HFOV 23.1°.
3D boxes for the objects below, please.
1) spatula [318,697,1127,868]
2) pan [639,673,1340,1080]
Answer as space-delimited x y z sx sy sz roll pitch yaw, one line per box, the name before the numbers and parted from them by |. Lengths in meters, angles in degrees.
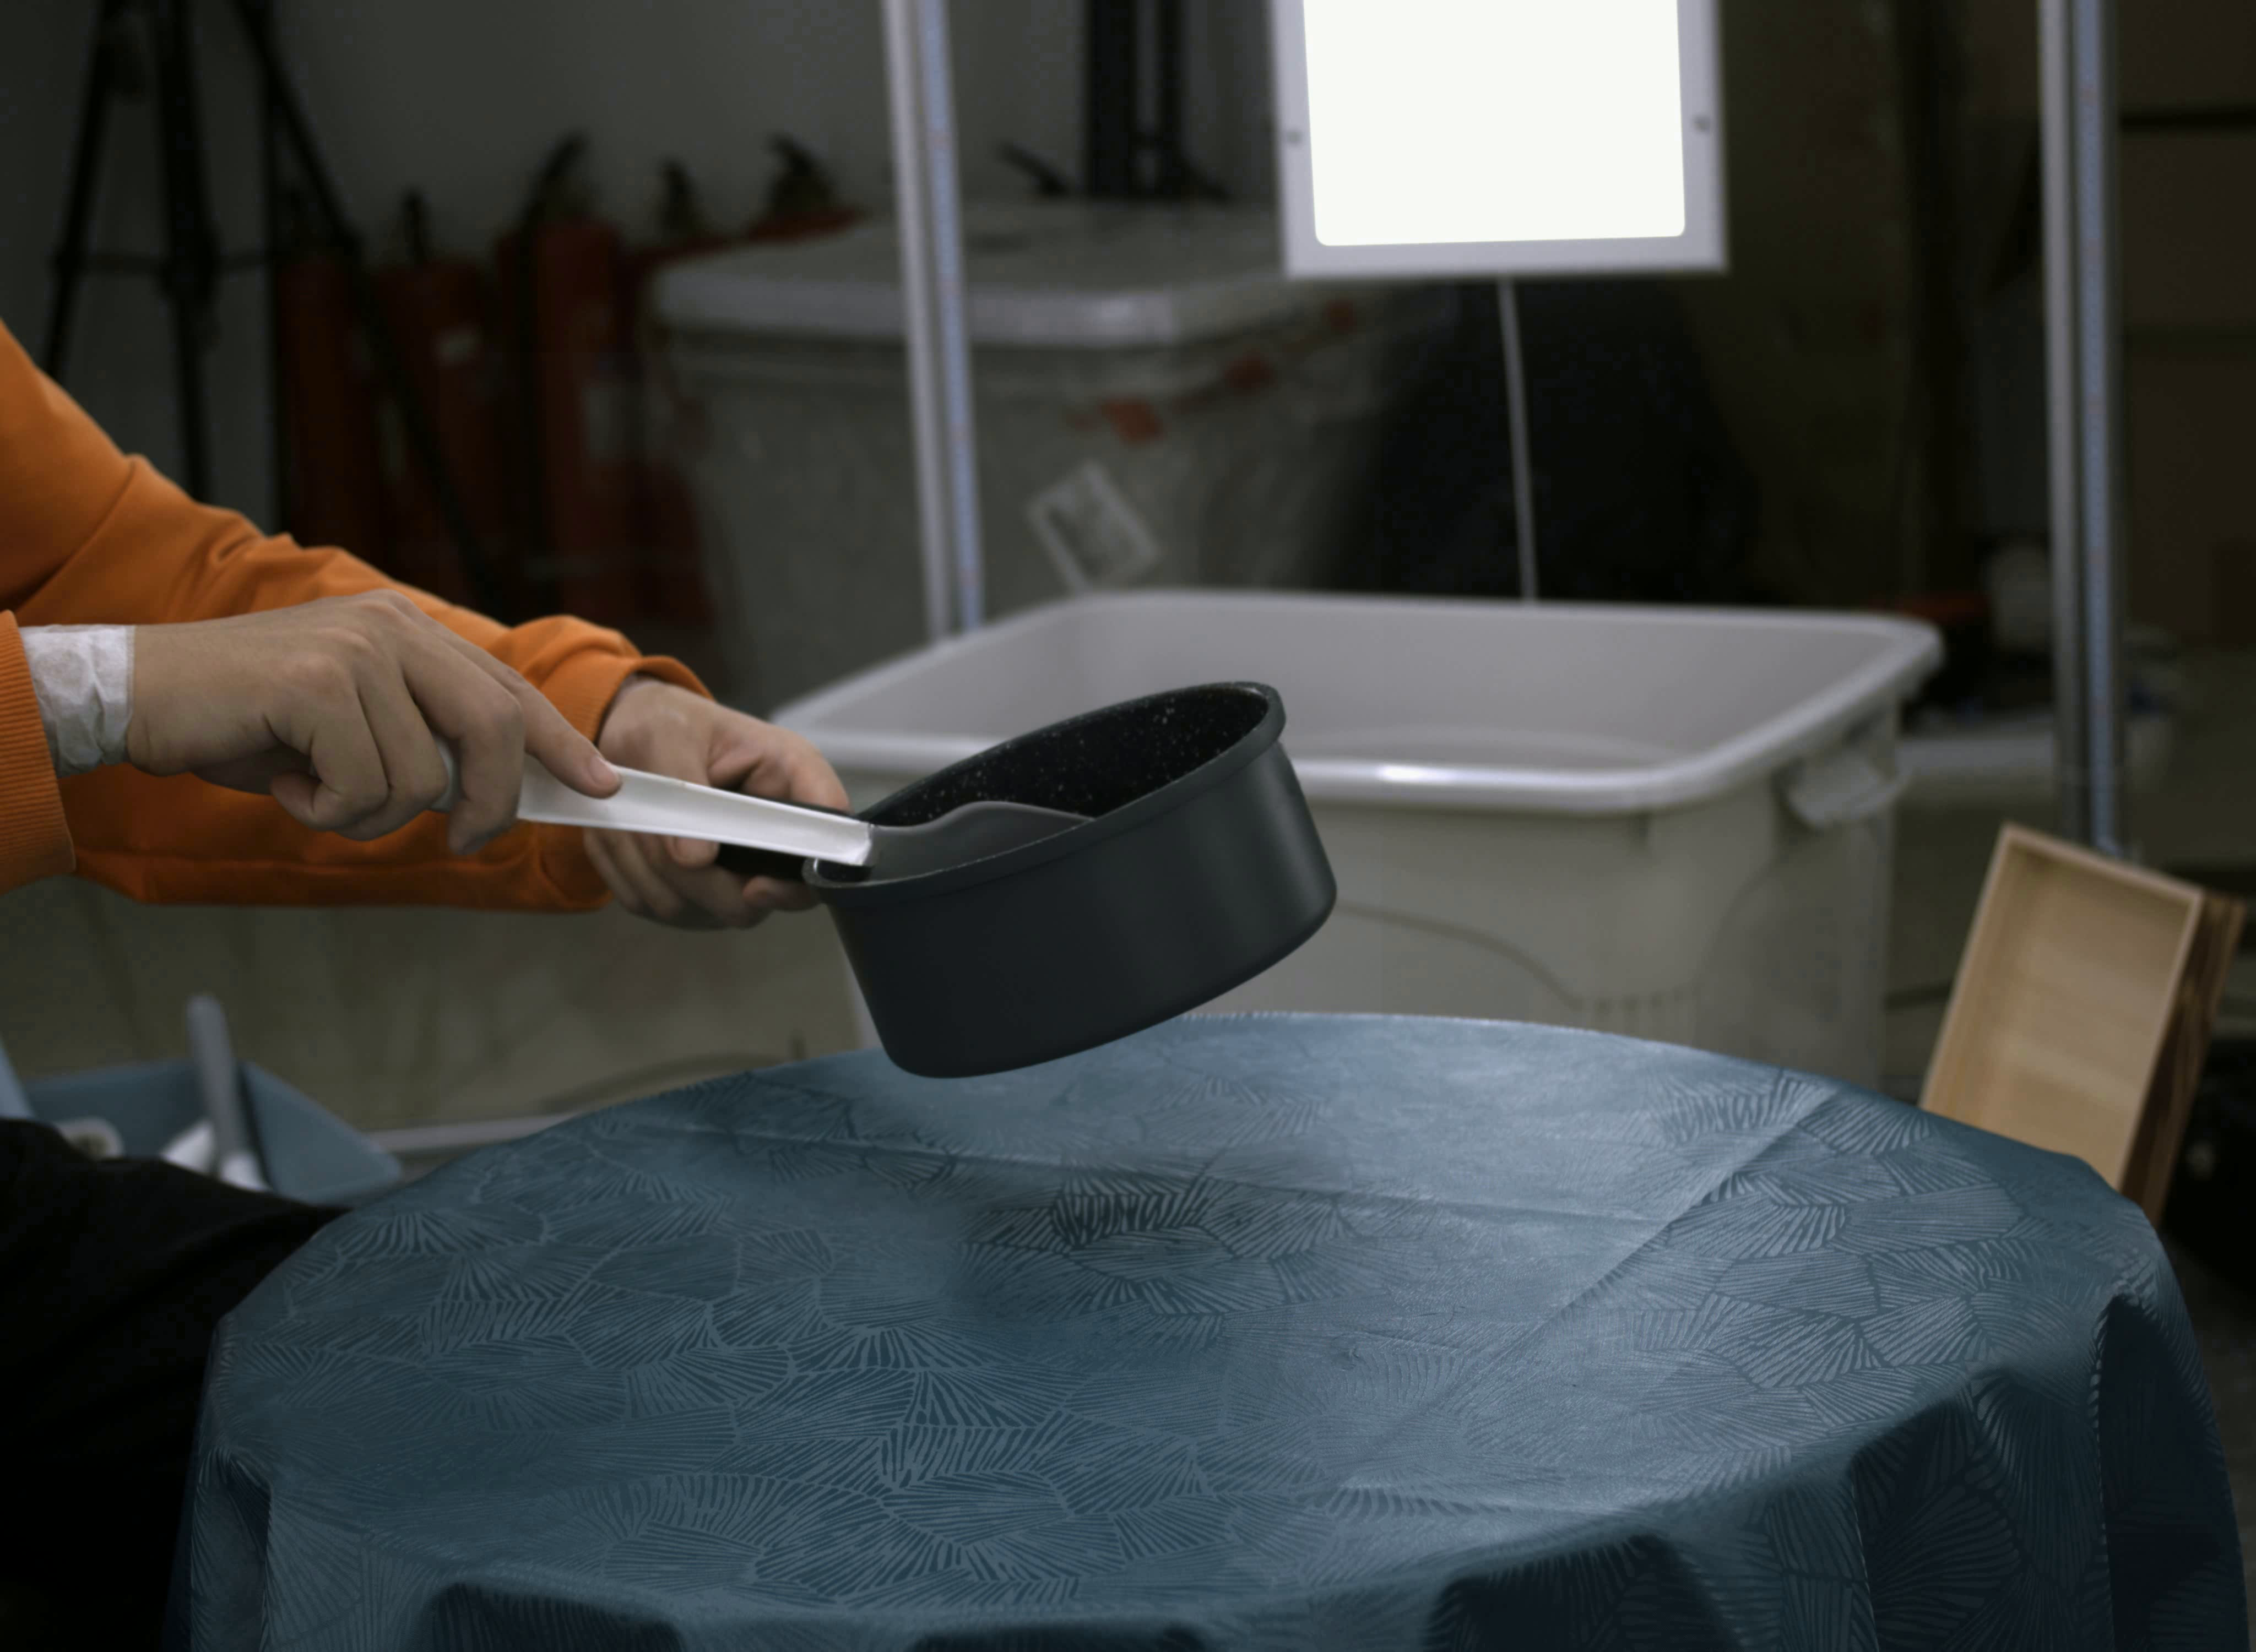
spatula | -0.125 -0.004 1.822 0.283 0.059 0.033 9 -11 -17
pan | -0.065 0.018 1.914 0.168 0.086 0.336 -28 16 -33
